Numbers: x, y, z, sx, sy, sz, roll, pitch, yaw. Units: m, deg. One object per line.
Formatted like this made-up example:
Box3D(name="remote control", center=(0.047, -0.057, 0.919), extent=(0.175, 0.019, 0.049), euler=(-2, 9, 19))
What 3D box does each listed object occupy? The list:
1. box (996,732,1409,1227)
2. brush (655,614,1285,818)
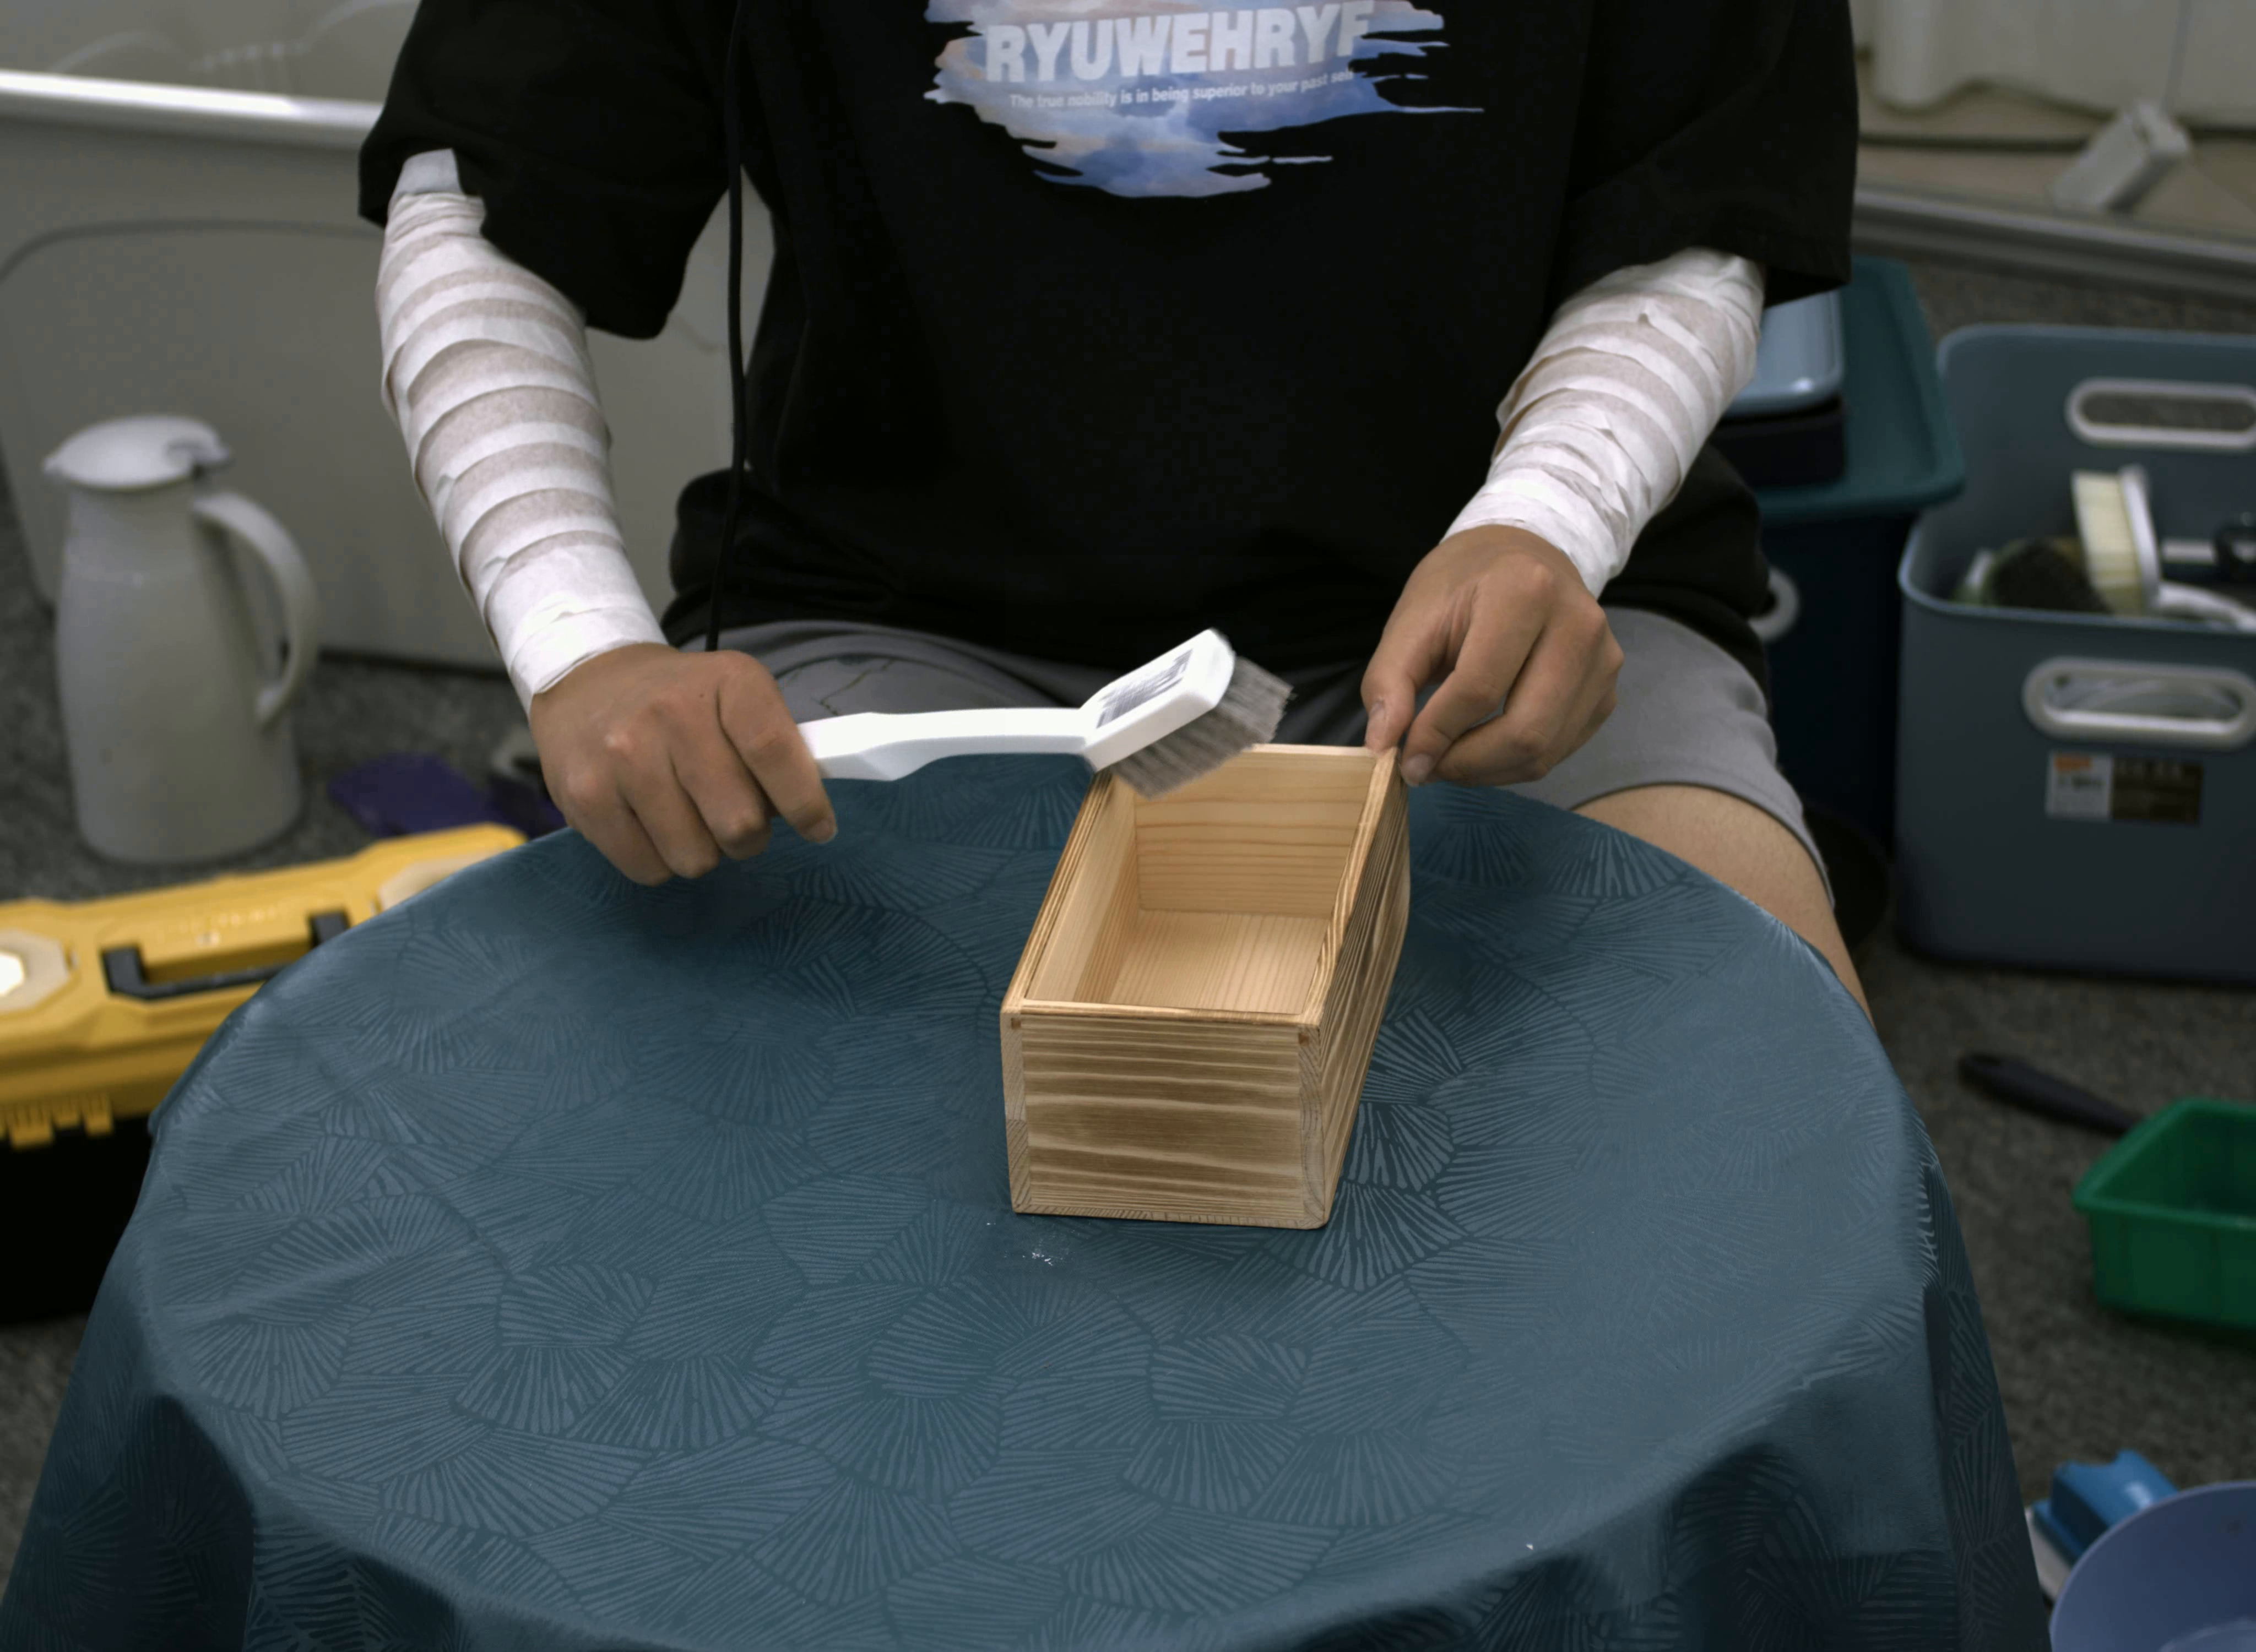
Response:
Box3D(name="box", center=(0.029, 0.048, 1.917), extent=(0.107, 0.079, 0.215), euler=(2, 26, 10))
Box3D(name="brush", center=(-0.056, -0.023, 1.981), extent=(0.241, 0.050, 0.035), euler=(-15, 37, 25))
